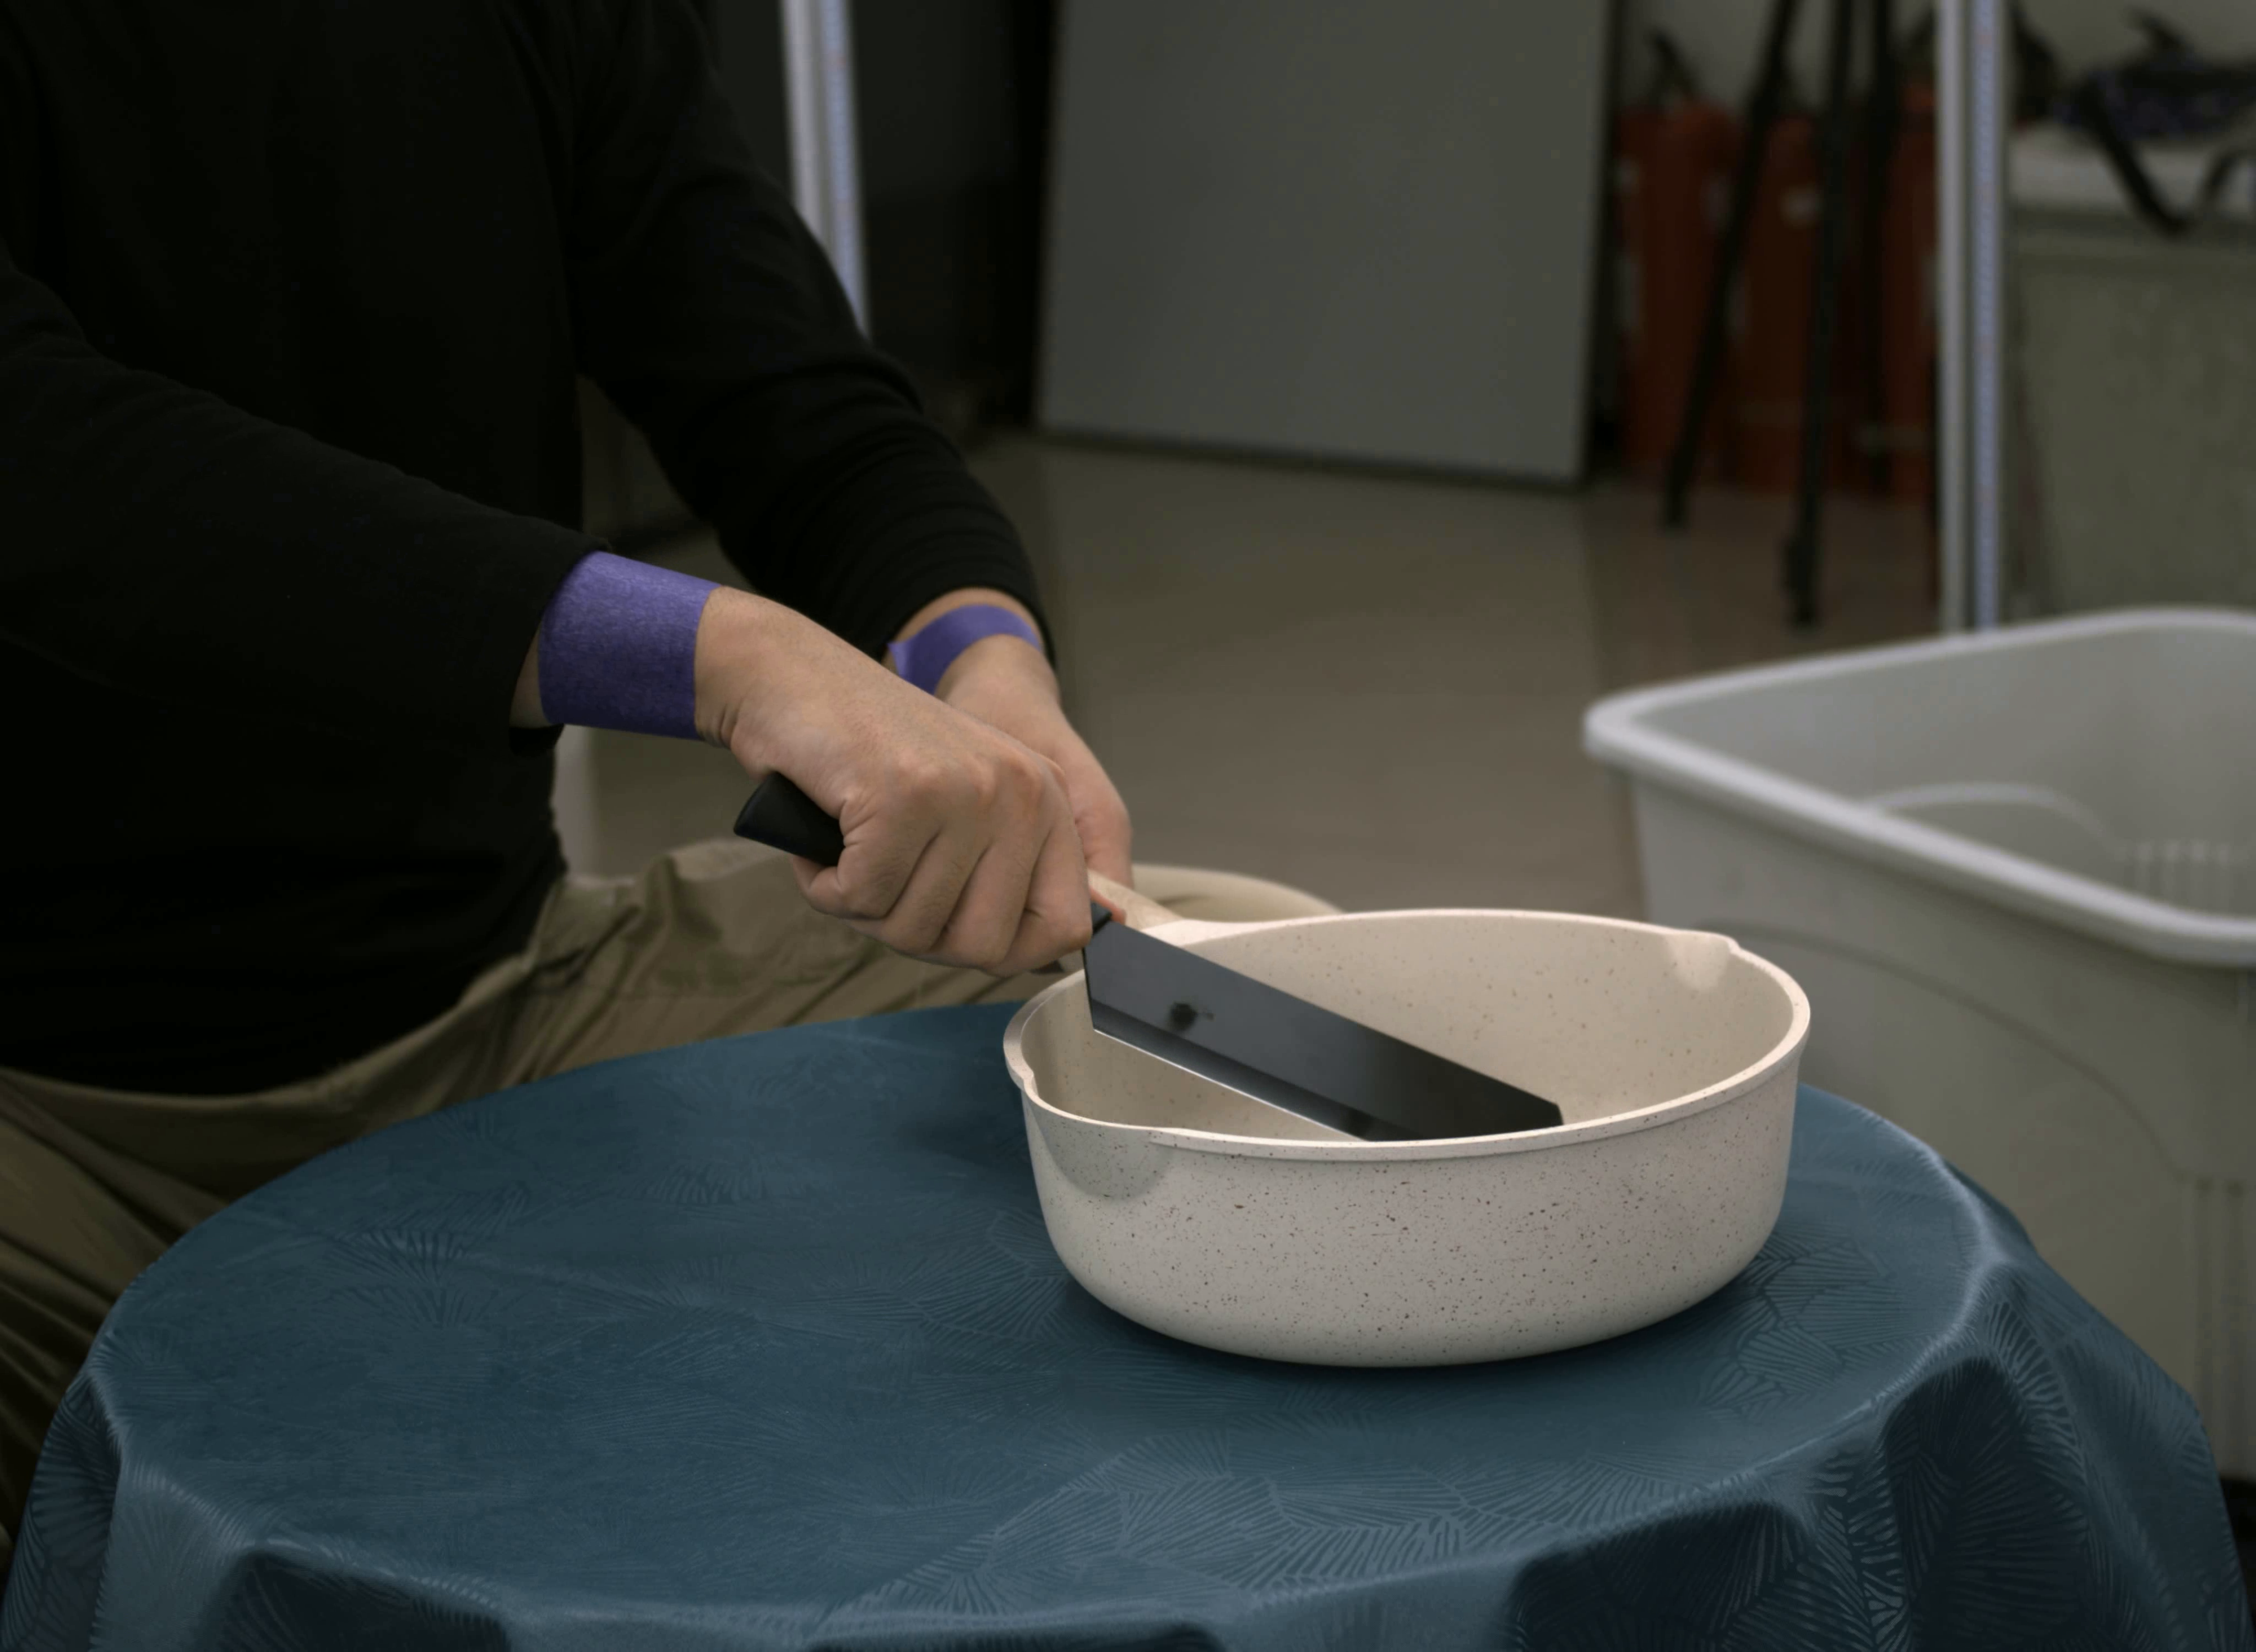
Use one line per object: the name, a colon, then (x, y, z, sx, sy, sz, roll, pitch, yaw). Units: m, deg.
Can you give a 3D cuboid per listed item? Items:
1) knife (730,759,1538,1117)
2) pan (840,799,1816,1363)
knife: (0.012, 0.050, 1.687, 0.298, 0.021, 0.081, 25, 28, -13)
pan: (0.037, 0.074, 1.746, 0.258, 0.103, 0.439, -15, 18, -32)
